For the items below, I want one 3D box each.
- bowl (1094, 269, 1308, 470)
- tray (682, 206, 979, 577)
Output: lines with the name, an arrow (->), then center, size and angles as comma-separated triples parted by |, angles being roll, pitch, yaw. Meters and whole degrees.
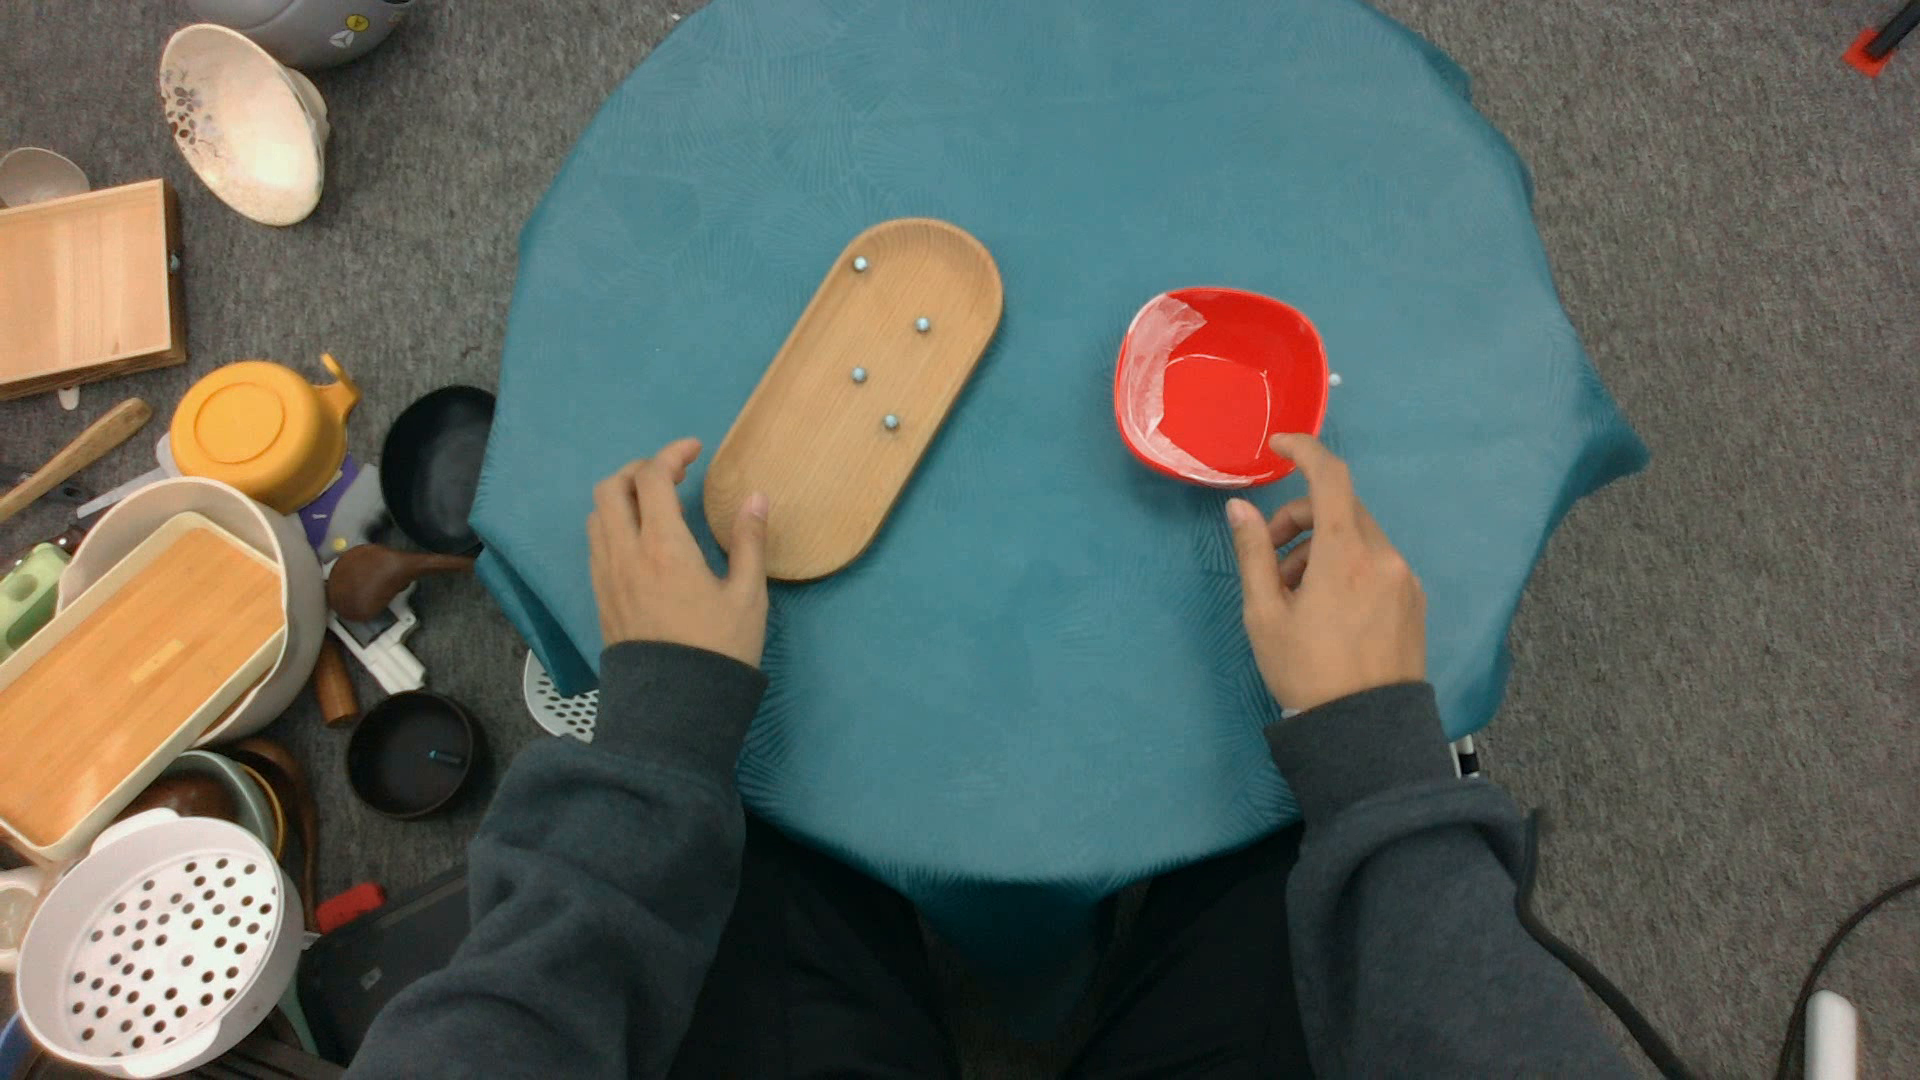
bowl -> 0.126, -0.084, 0.739 | 0.119, 0.051, 0.119 | 0, 72, 0
tray -> -0.069, -0.085, 0.763 | 0.101, 0.020, 0.231 | 25, 77, 9
